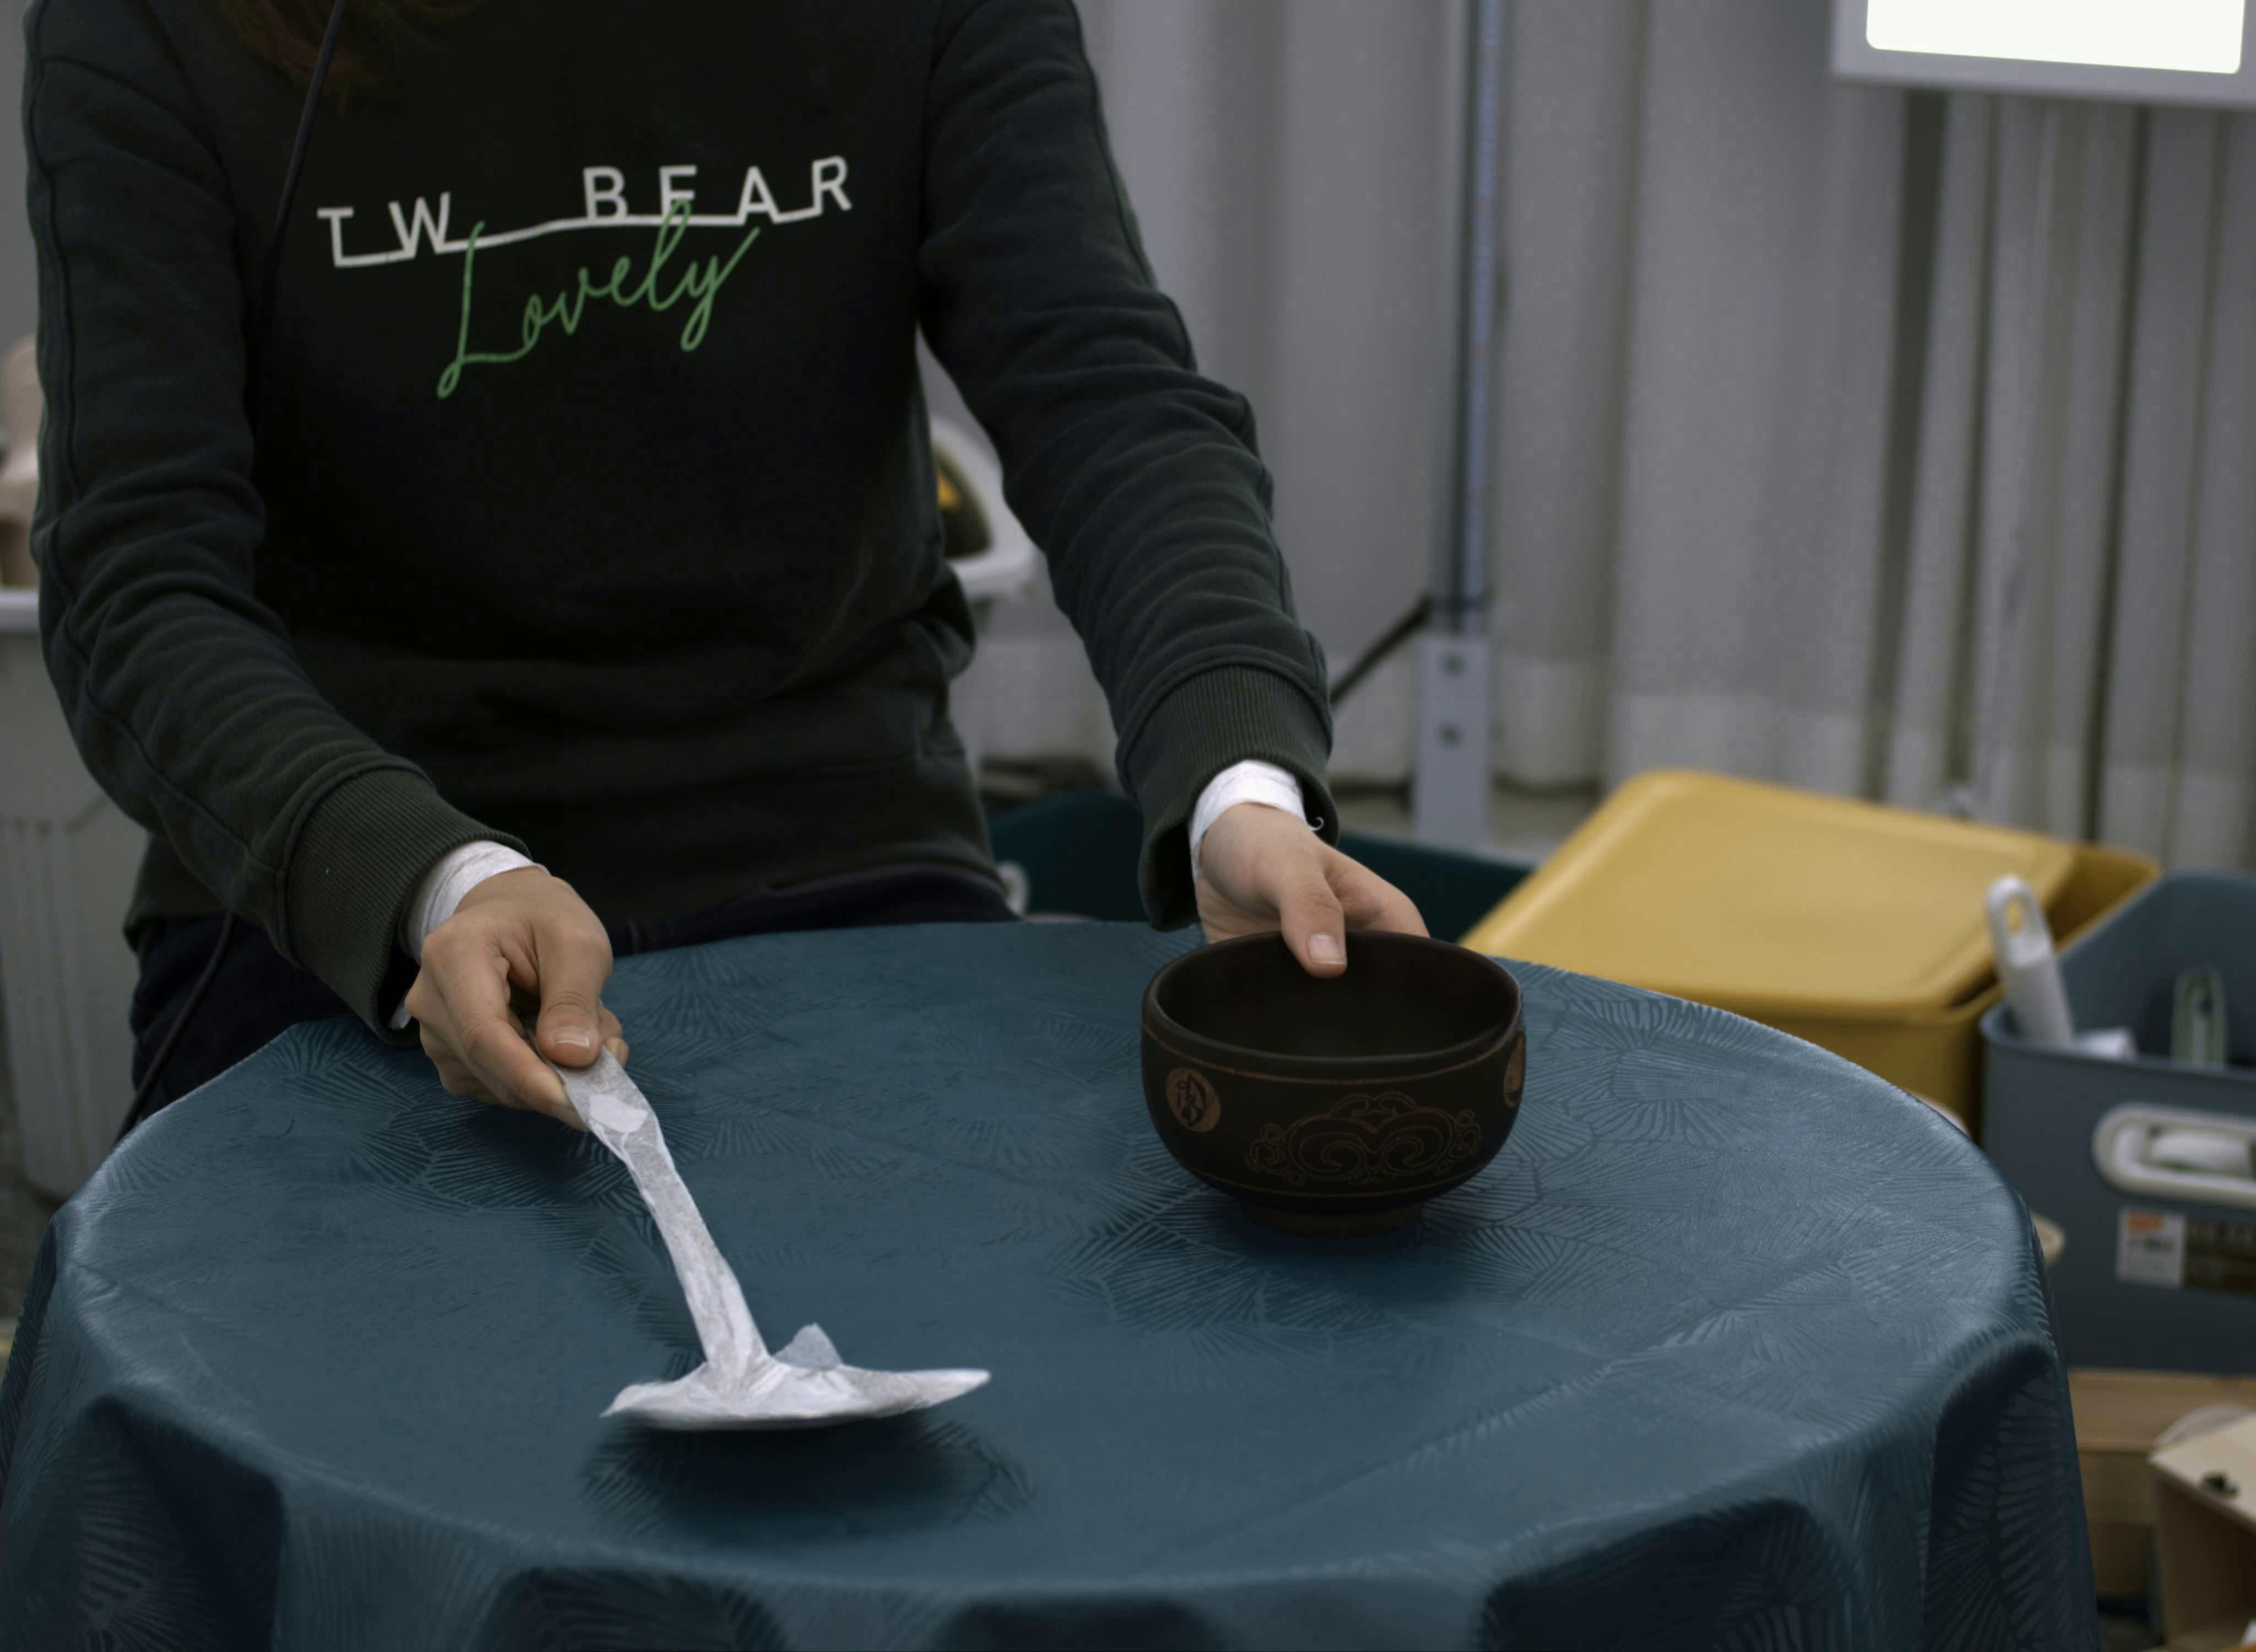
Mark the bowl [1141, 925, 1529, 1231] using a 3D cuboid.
[{"bbox_3d":[0.062,0.081,1.602,0.117,0.070,0.117,1,18,0],"label":"bowl"}]

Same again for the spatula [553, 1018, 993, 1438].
[{"bbox_3d":[-0.128,0.108,1.532,0.099,0.045,0.360,-5,22,-16],"label":"spatula"}]
